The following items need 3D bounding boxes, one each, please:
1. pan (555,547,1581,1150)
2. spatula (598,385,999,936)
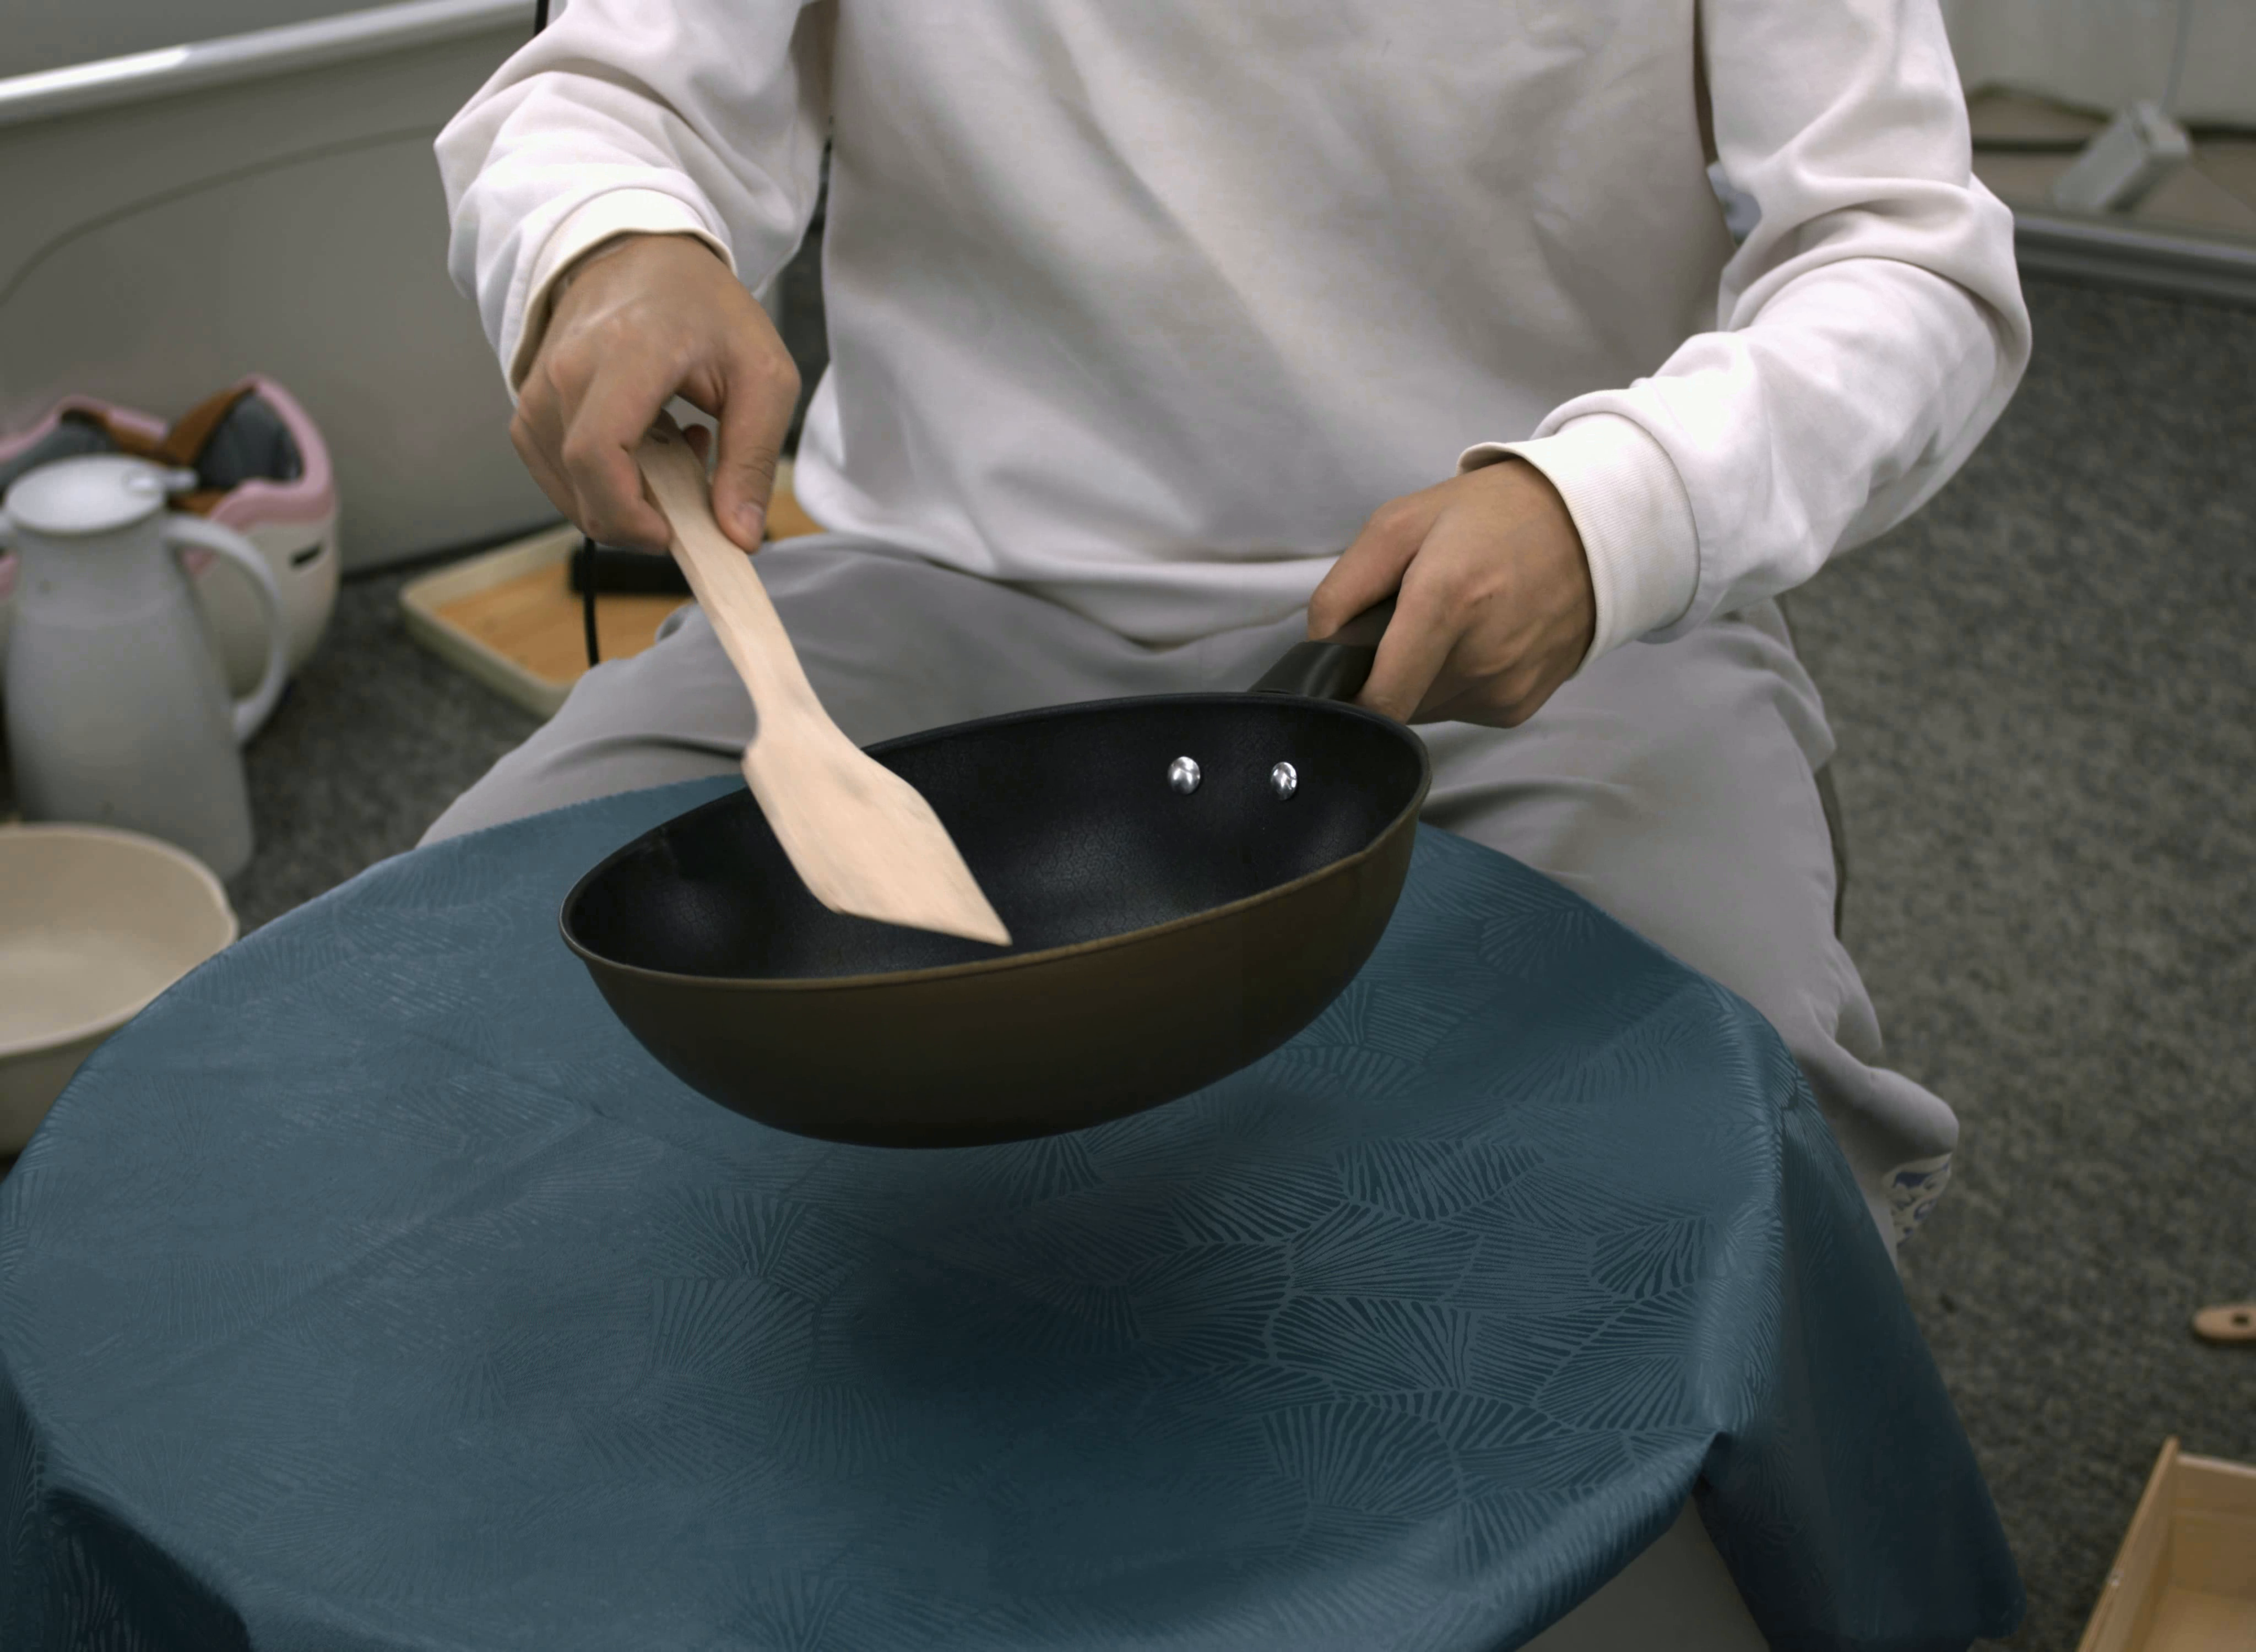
[{"bbox_3d":[0.017,0.008,1.854,0.285,0.086,0.469,2,20,37],"label":"pan"},{"bbox_3d":[-0.122,-0.060,1.854,0.072,0.010,0.297,13,31,-35],"label":"spatula"}]
